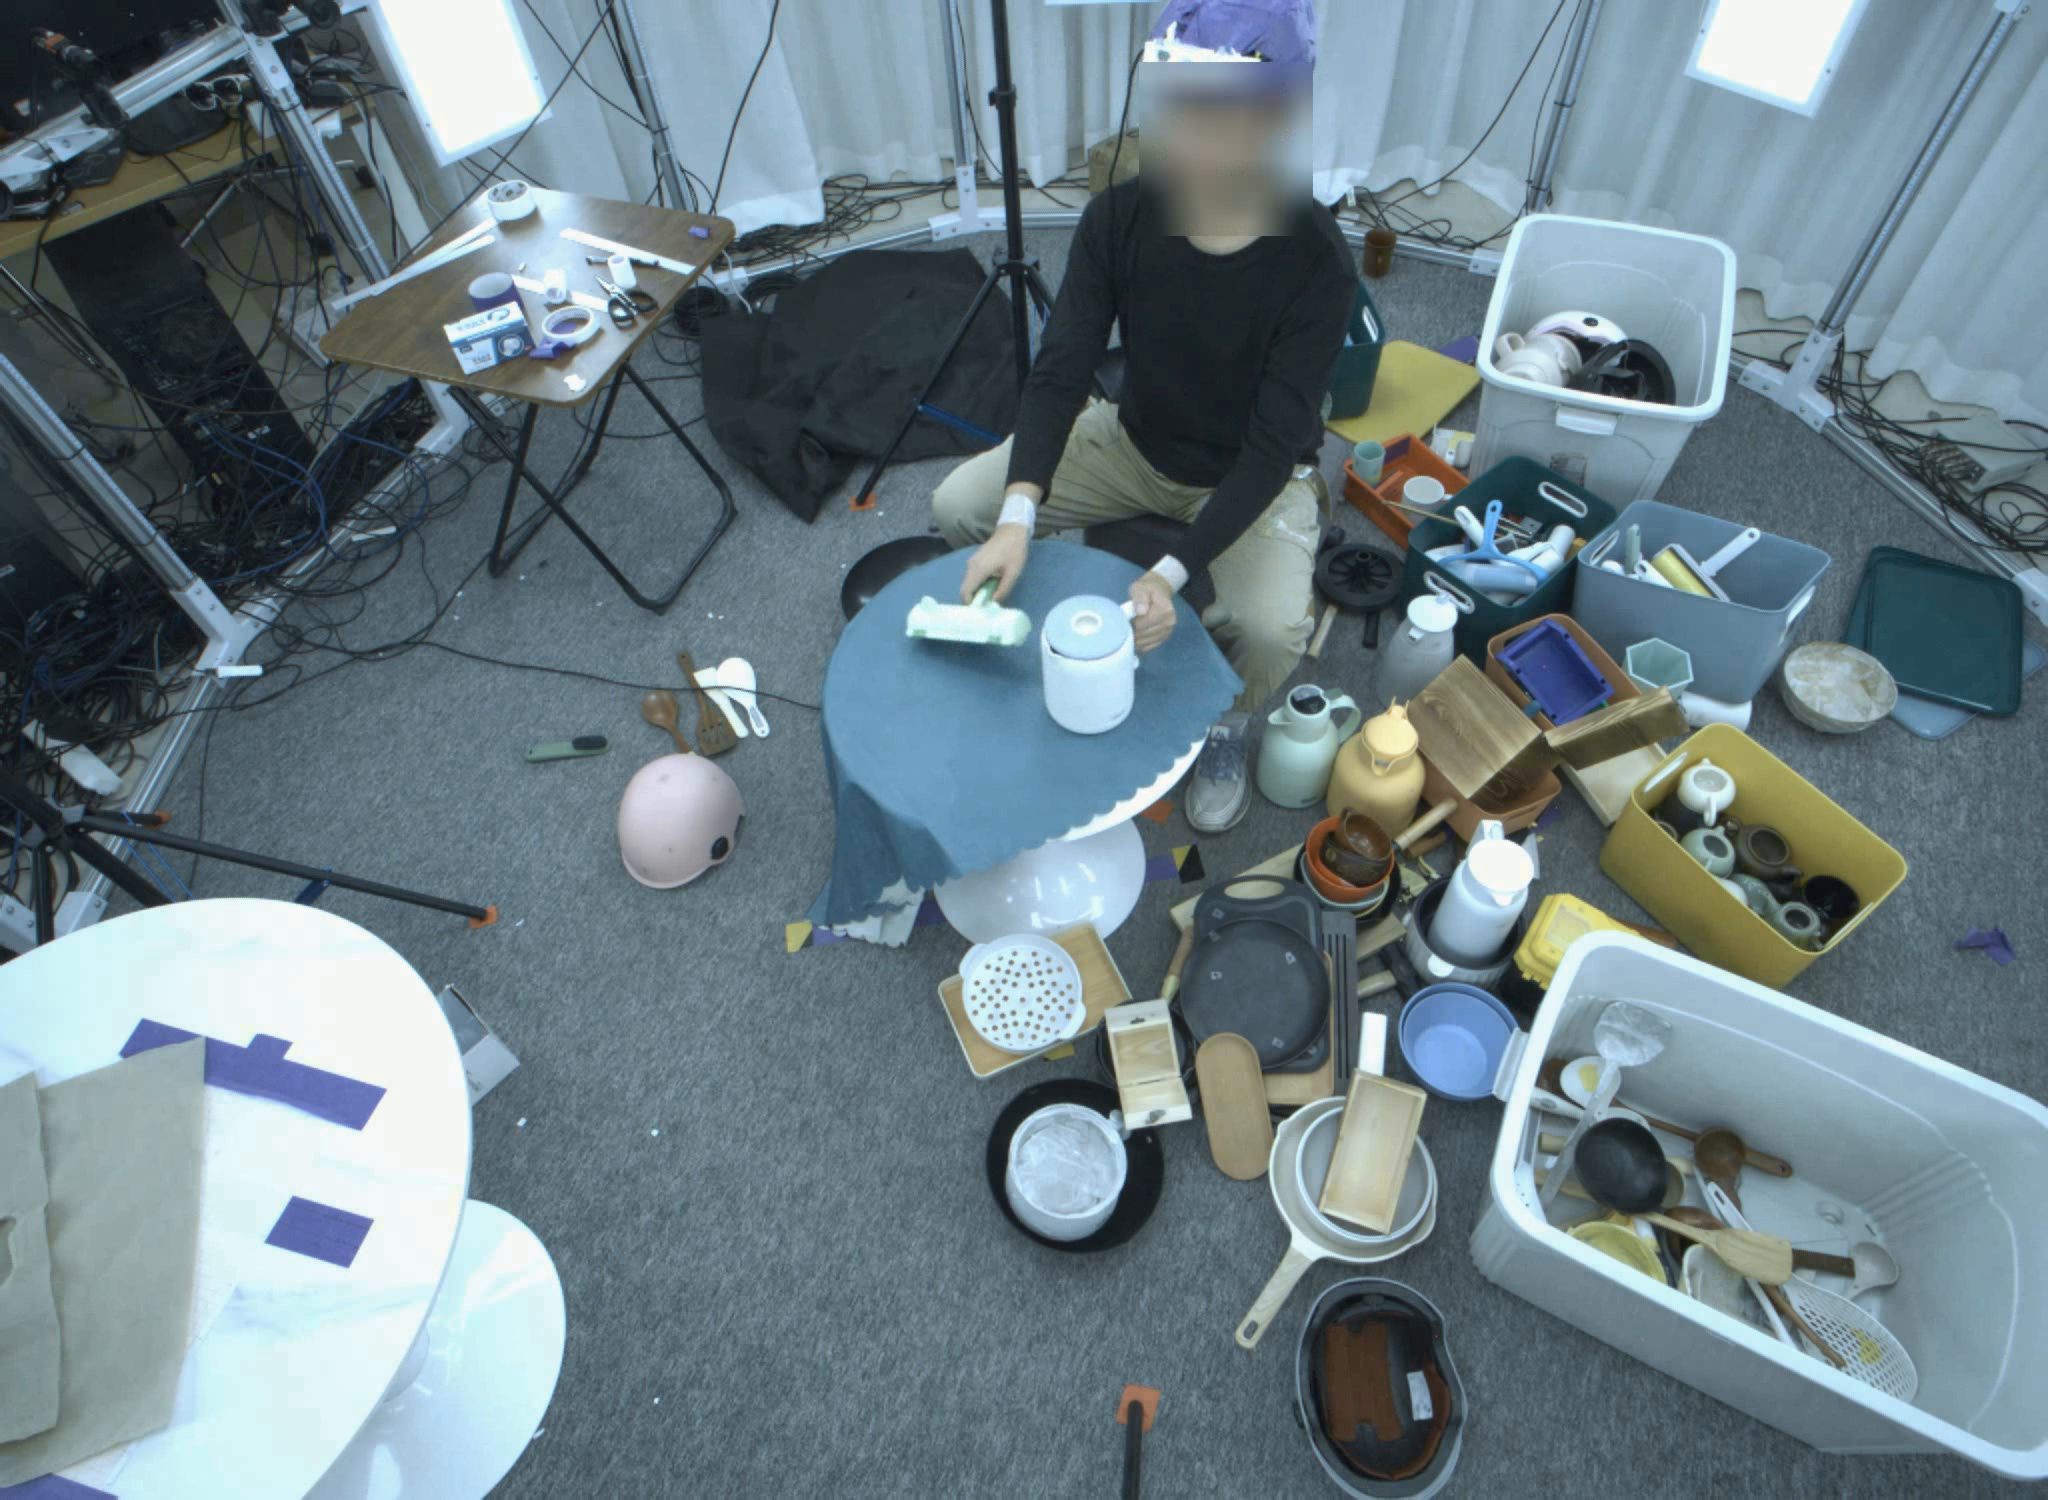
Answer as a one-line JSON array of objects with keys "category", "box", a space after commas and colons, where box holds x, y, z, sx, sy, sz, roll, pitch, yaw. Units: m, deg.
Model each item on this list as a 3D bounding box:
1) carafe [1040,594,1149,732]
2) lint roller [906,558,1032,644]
[{"category": "carafe", "box": [0.110, -0.137, 1.775, 0.192, 0.184, 0.130, -35, 60, -22]}, {"category": "lint roller", "box": [-0.069, -0.242, 1.877, 0.195, 0.084, 0.183, 7, 61, 29]}]
